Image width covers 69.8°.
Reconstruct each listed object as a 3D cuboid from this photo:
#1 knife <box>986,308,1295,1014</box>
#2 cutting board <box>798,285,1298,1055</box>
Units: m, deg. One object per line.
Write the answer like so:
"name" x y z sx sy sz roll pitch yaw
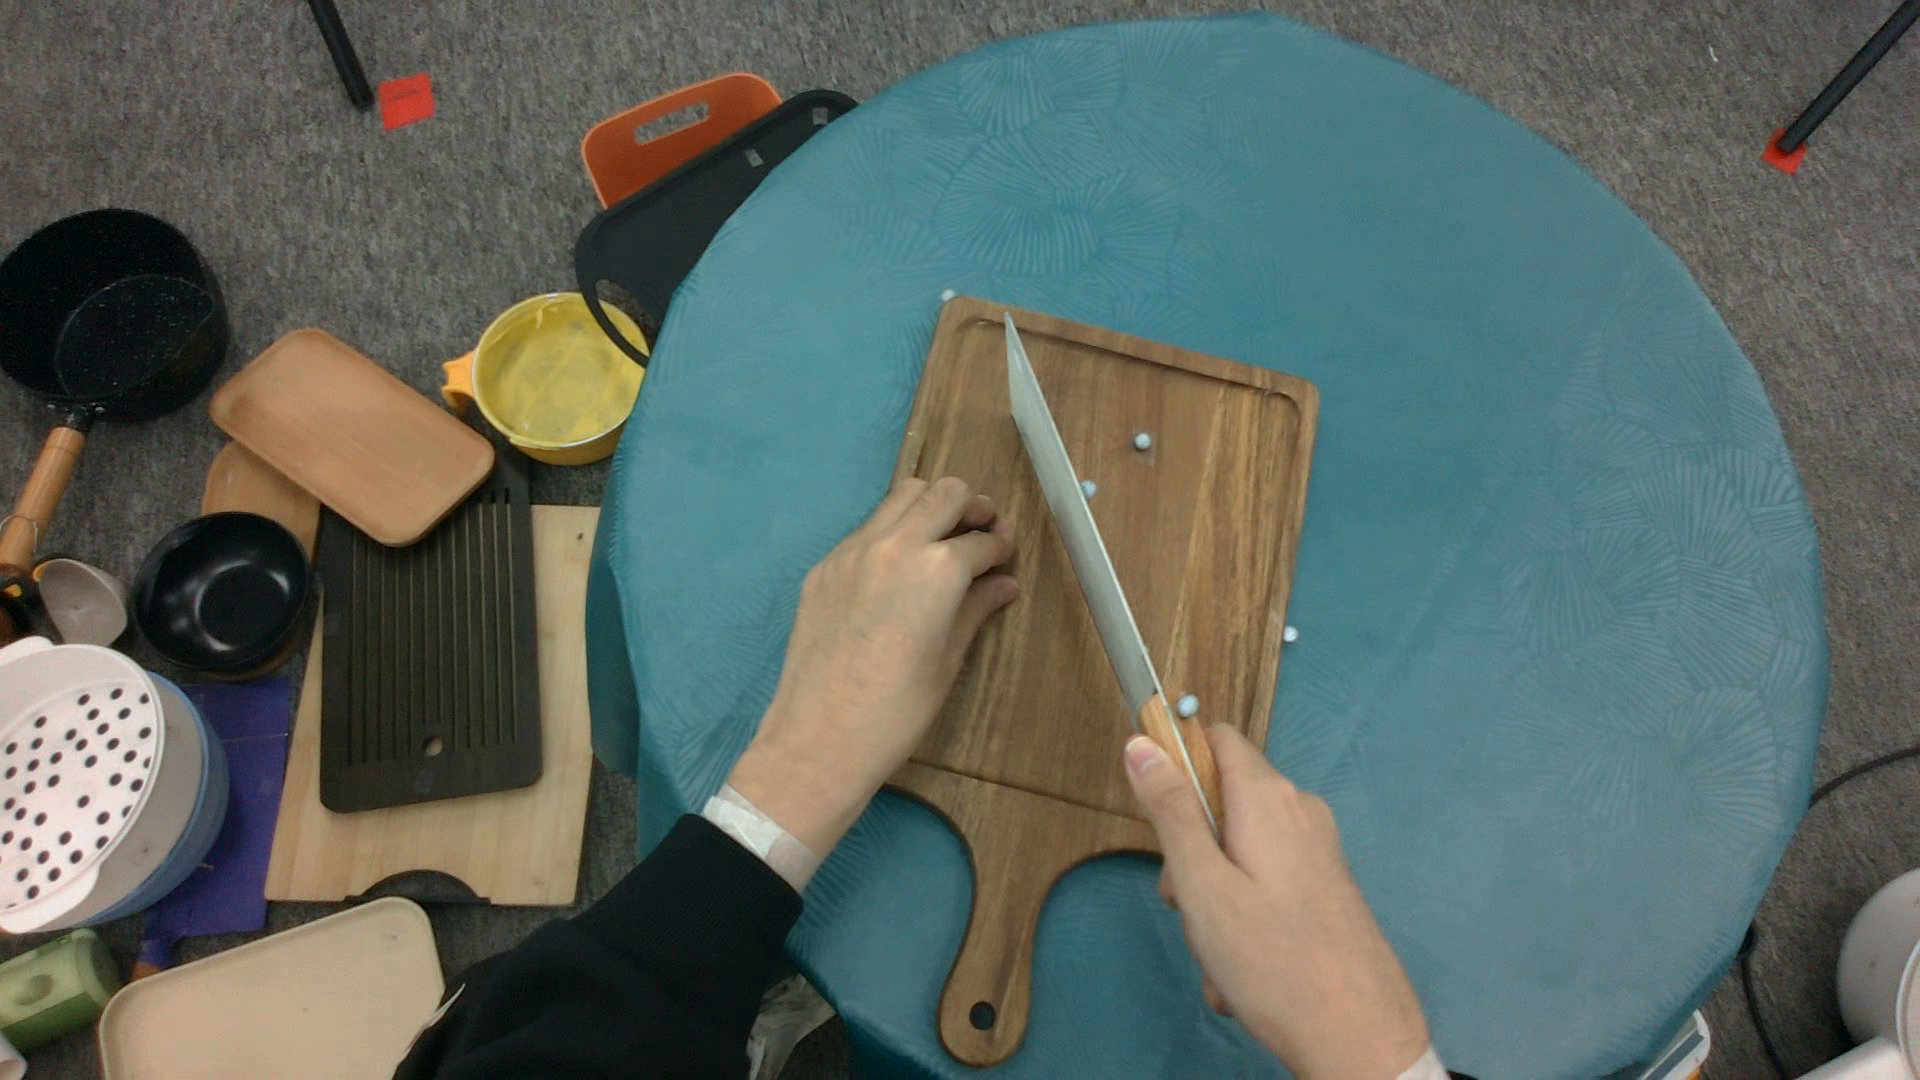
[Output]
"knife" 0.062 0.045 0.569 0.021 0.092 0.306 -18 67 -5
"cutting board" 0.037 0.053 0.635 0.201 0.023 0.353 13 70 1
